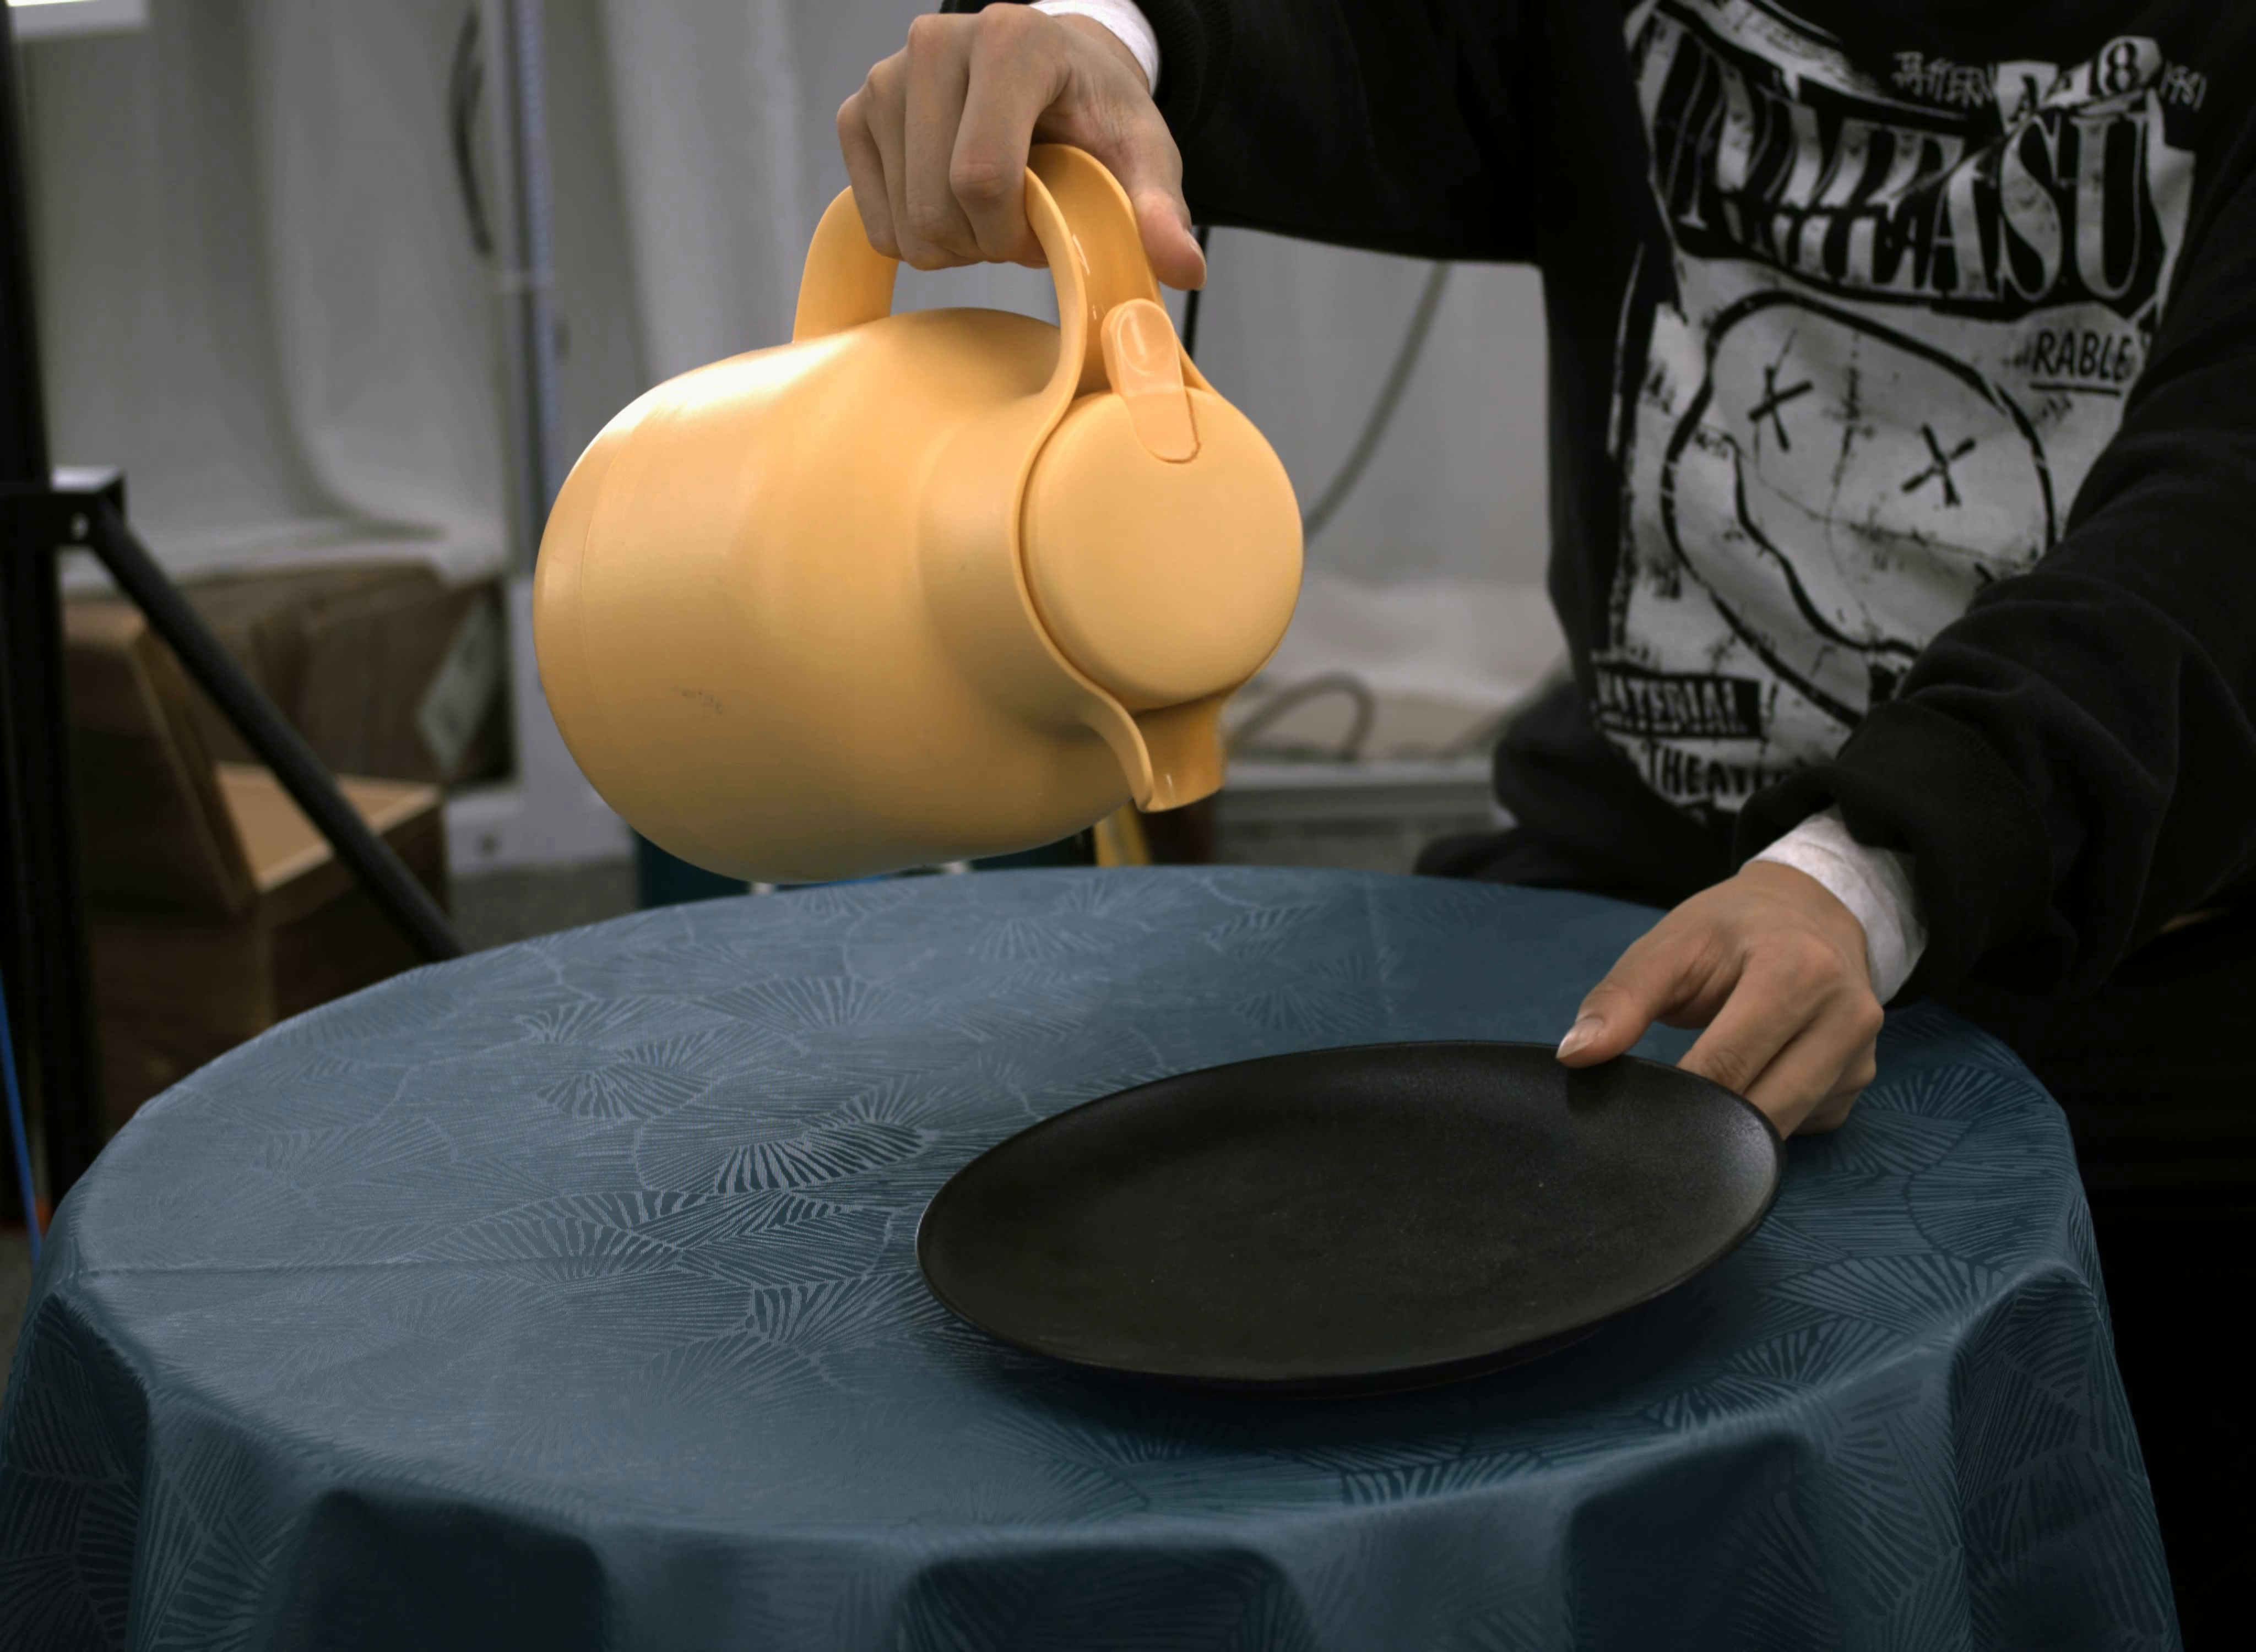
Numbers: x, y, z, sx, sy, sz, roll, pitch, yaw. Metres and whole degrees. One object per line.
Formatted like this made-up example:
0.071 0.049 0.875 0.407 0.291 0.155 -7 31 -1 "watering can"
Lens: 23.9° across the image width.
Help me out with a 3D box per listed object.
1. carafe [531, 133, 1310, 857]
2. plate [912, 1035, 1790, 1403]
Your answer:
-0.054 -0.094 1.554 0.159 0.203 0.265 -4 1 -34 "carafe"
0.062 0.111 1.462 0.243 0.023 0.246 -7 18 1 "plate"
